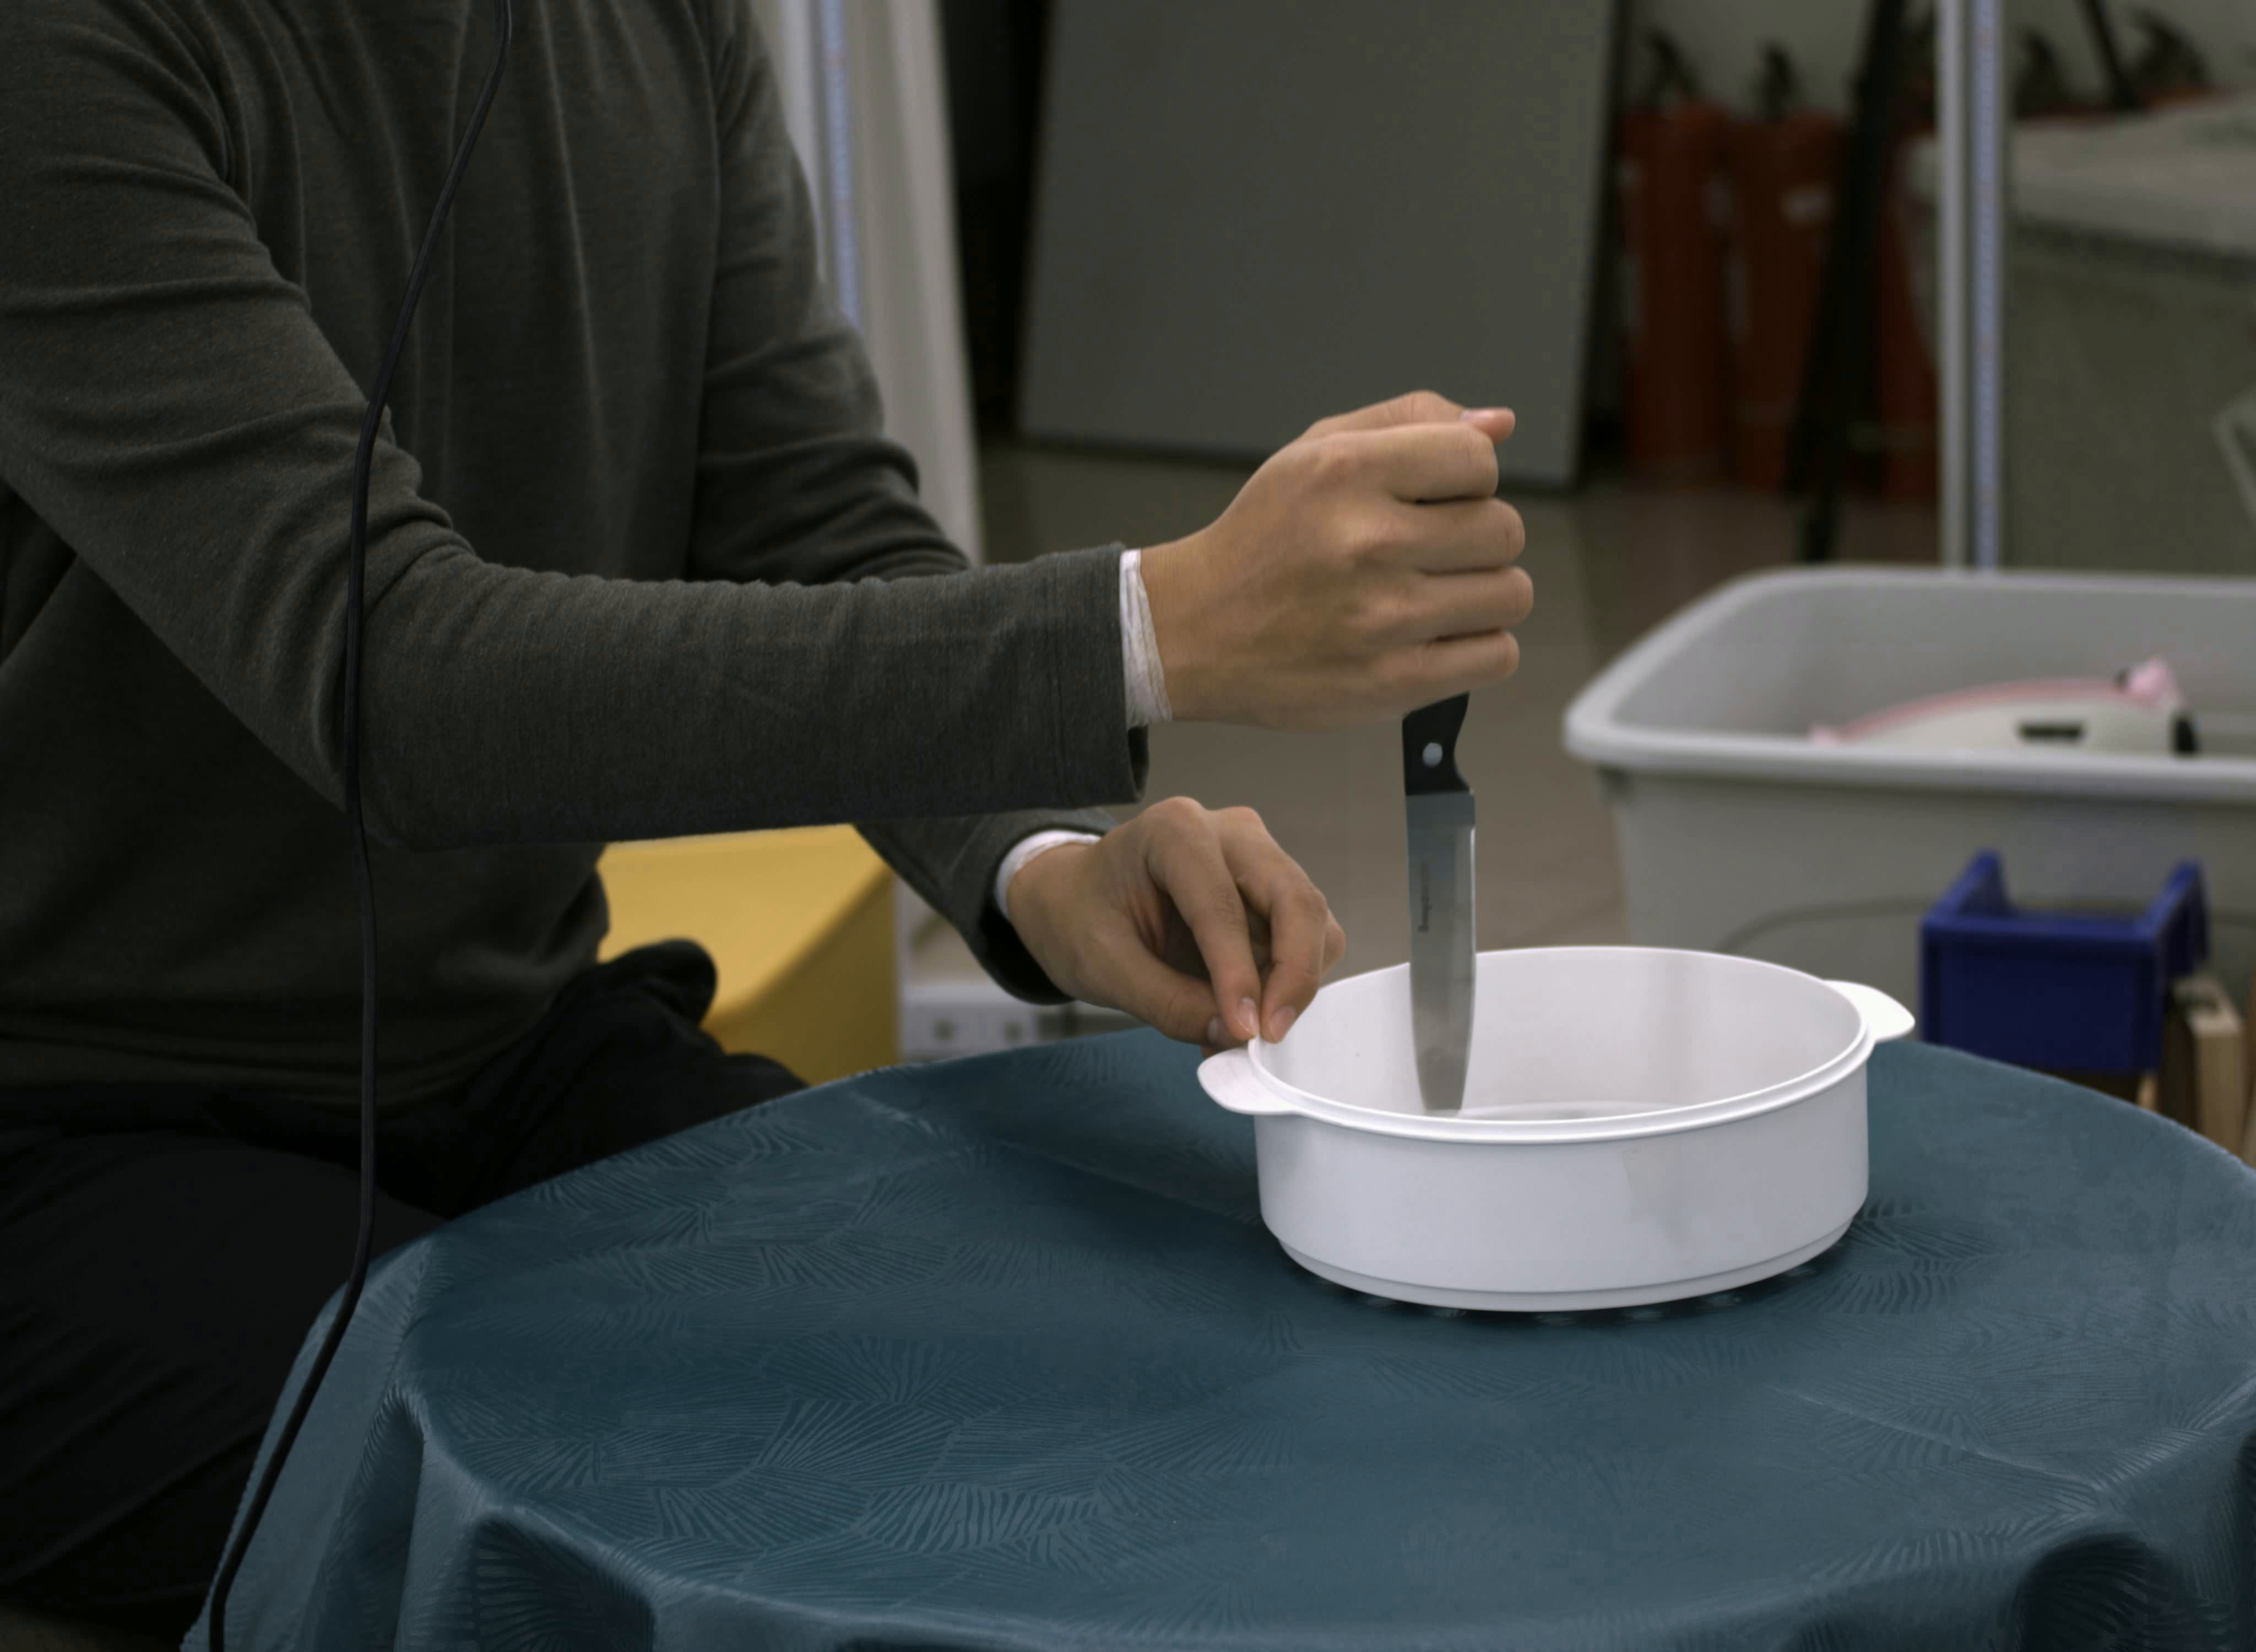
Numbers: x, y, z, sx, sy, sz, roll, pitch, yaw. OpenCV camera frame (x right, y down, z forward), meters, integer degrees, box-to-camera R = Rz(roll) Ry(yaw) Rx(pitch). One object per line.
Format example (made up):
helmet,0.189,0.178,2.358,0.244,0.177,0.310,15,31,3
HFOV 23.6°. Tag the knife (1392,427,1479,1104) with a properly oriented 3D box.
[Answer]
knife,0.094,-0.005,1.669,0.024,0.241,0.016,-3,16,3

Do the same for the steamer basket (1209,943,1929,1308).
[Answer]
steamer basket,0.141,0.094,1.698,0.226,0.070,0.203,-7,13,-9
